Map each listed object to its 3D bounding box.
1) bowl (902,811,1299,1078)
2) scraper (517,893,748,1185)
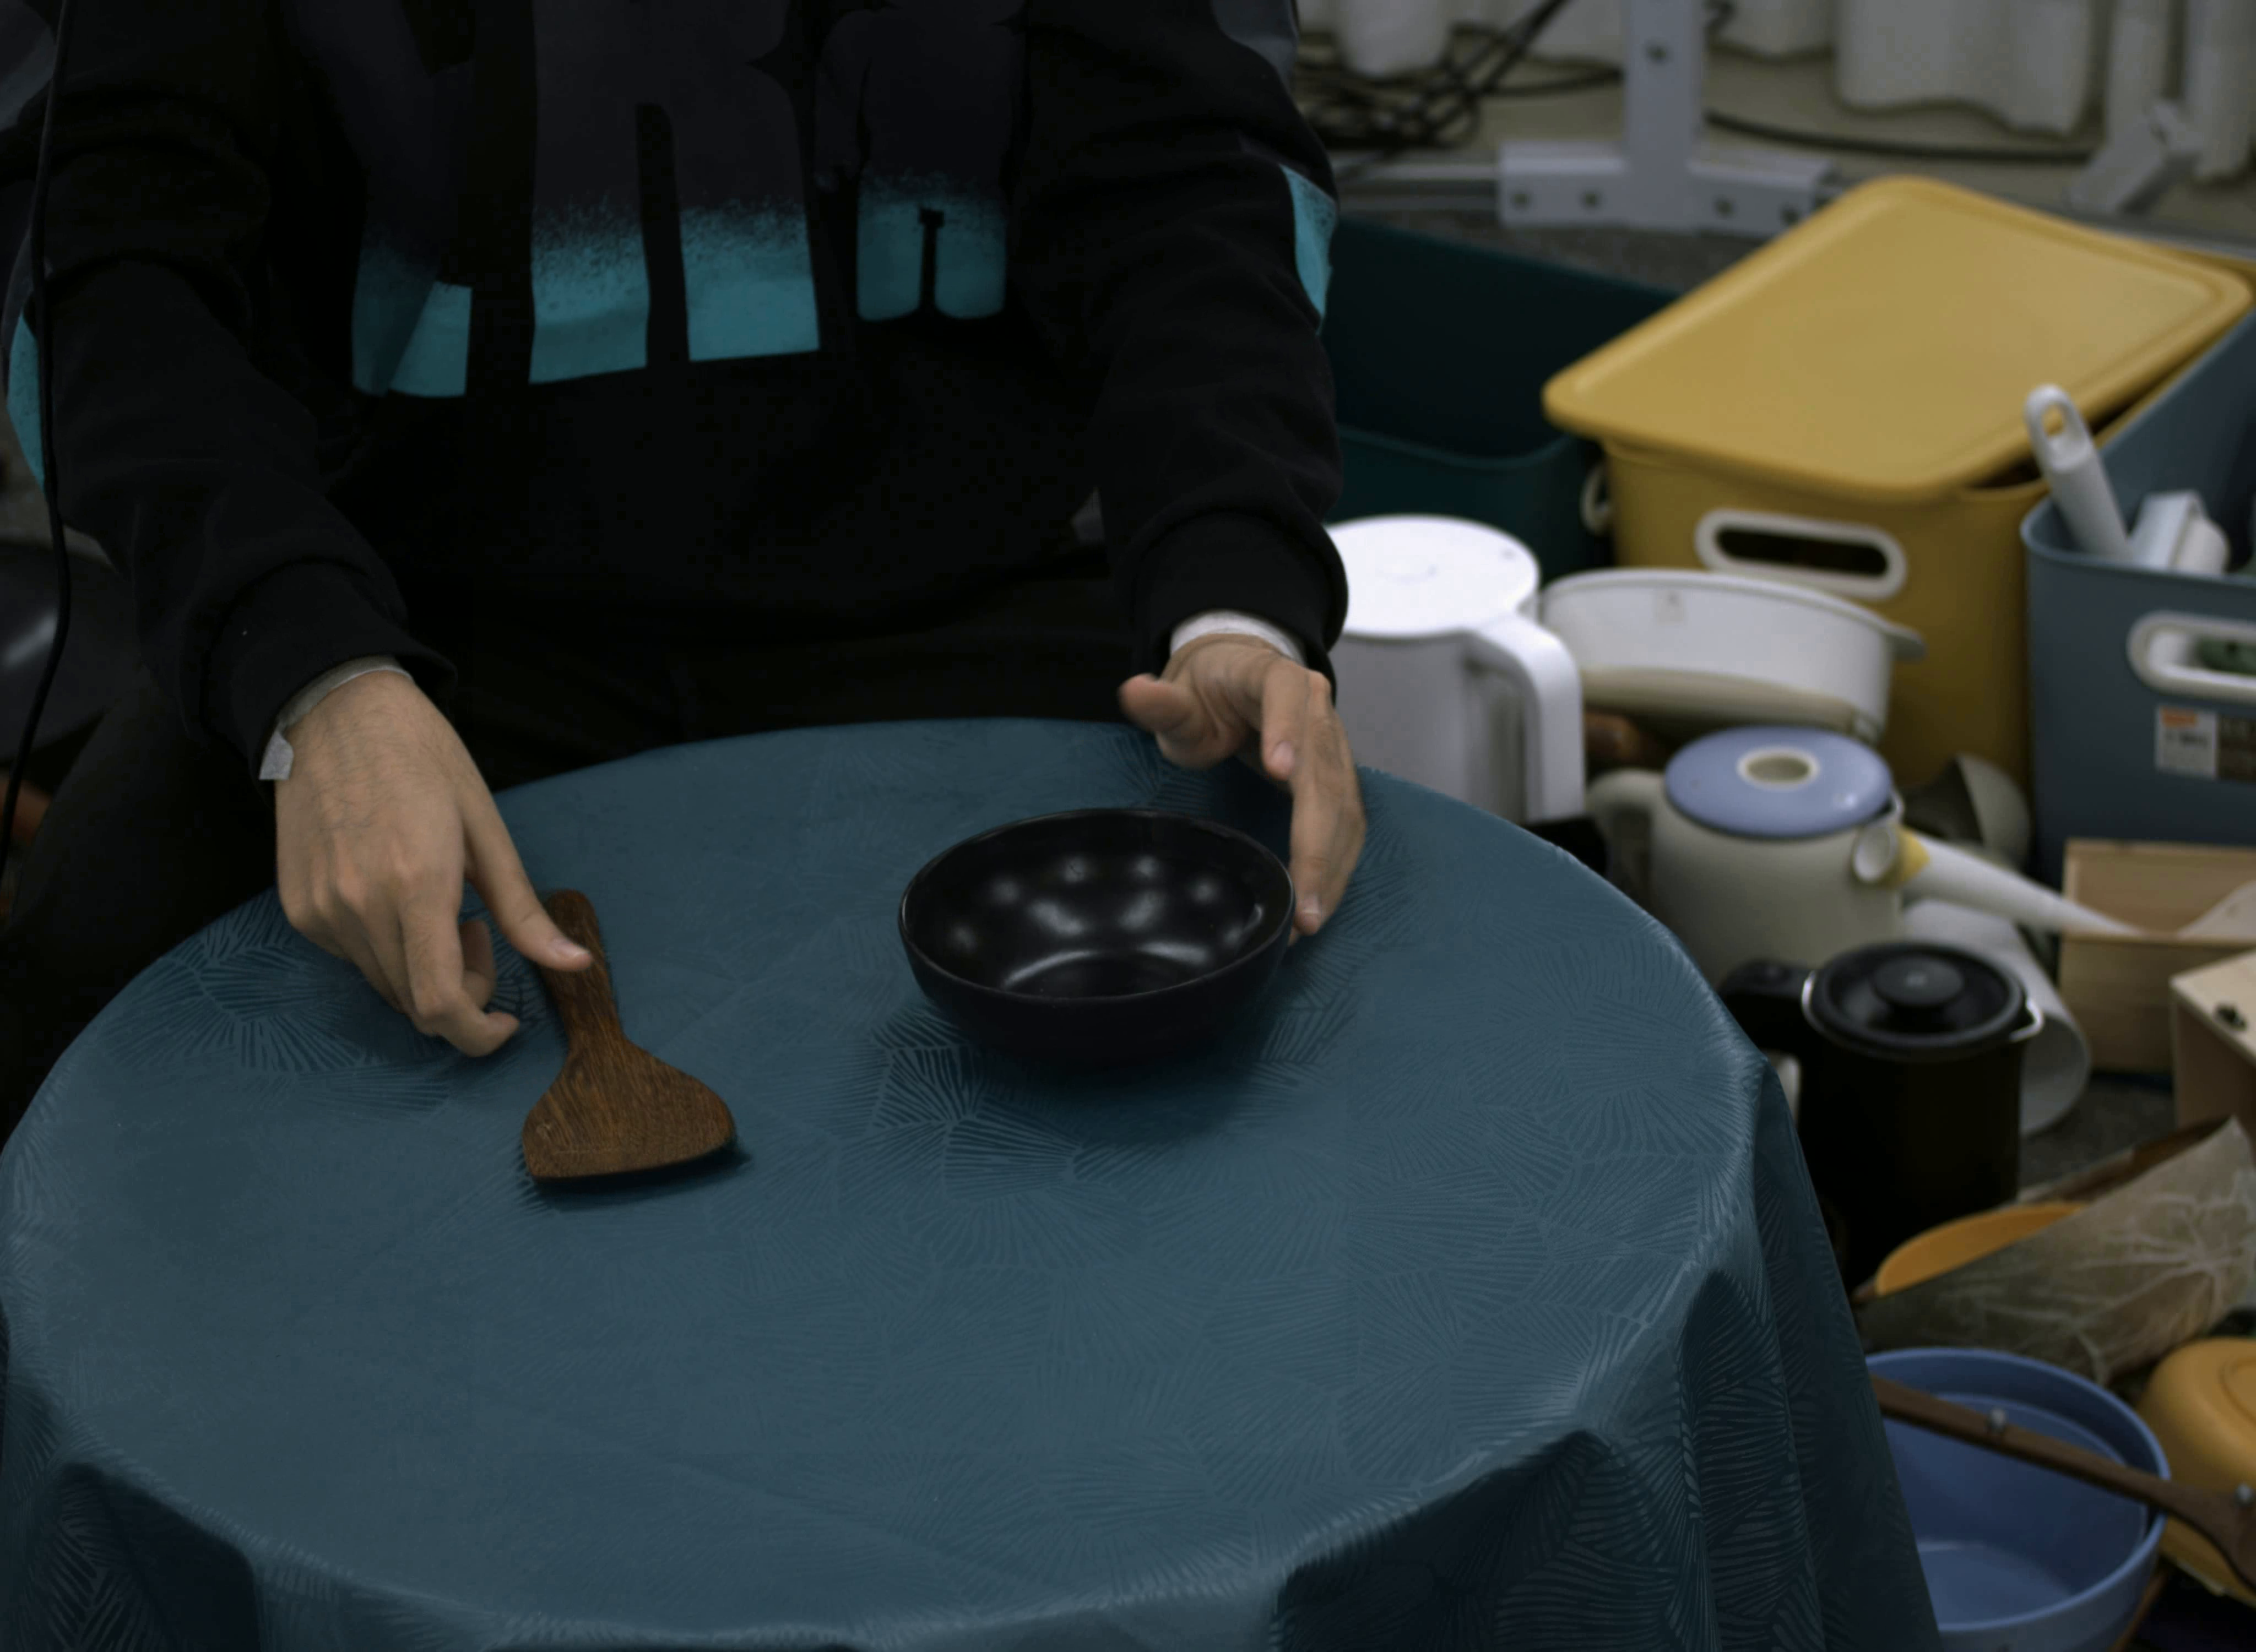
[{"bbox_3d":[-0.007,0.049,1.952,0.139,0.049,0.142,-5,27,3],"label":"bowl"},{"bbox_3d":[-0.186,0.073,1.964,0.076,0.011,0.213,-7,27,-12],"label":"scraper"}]
